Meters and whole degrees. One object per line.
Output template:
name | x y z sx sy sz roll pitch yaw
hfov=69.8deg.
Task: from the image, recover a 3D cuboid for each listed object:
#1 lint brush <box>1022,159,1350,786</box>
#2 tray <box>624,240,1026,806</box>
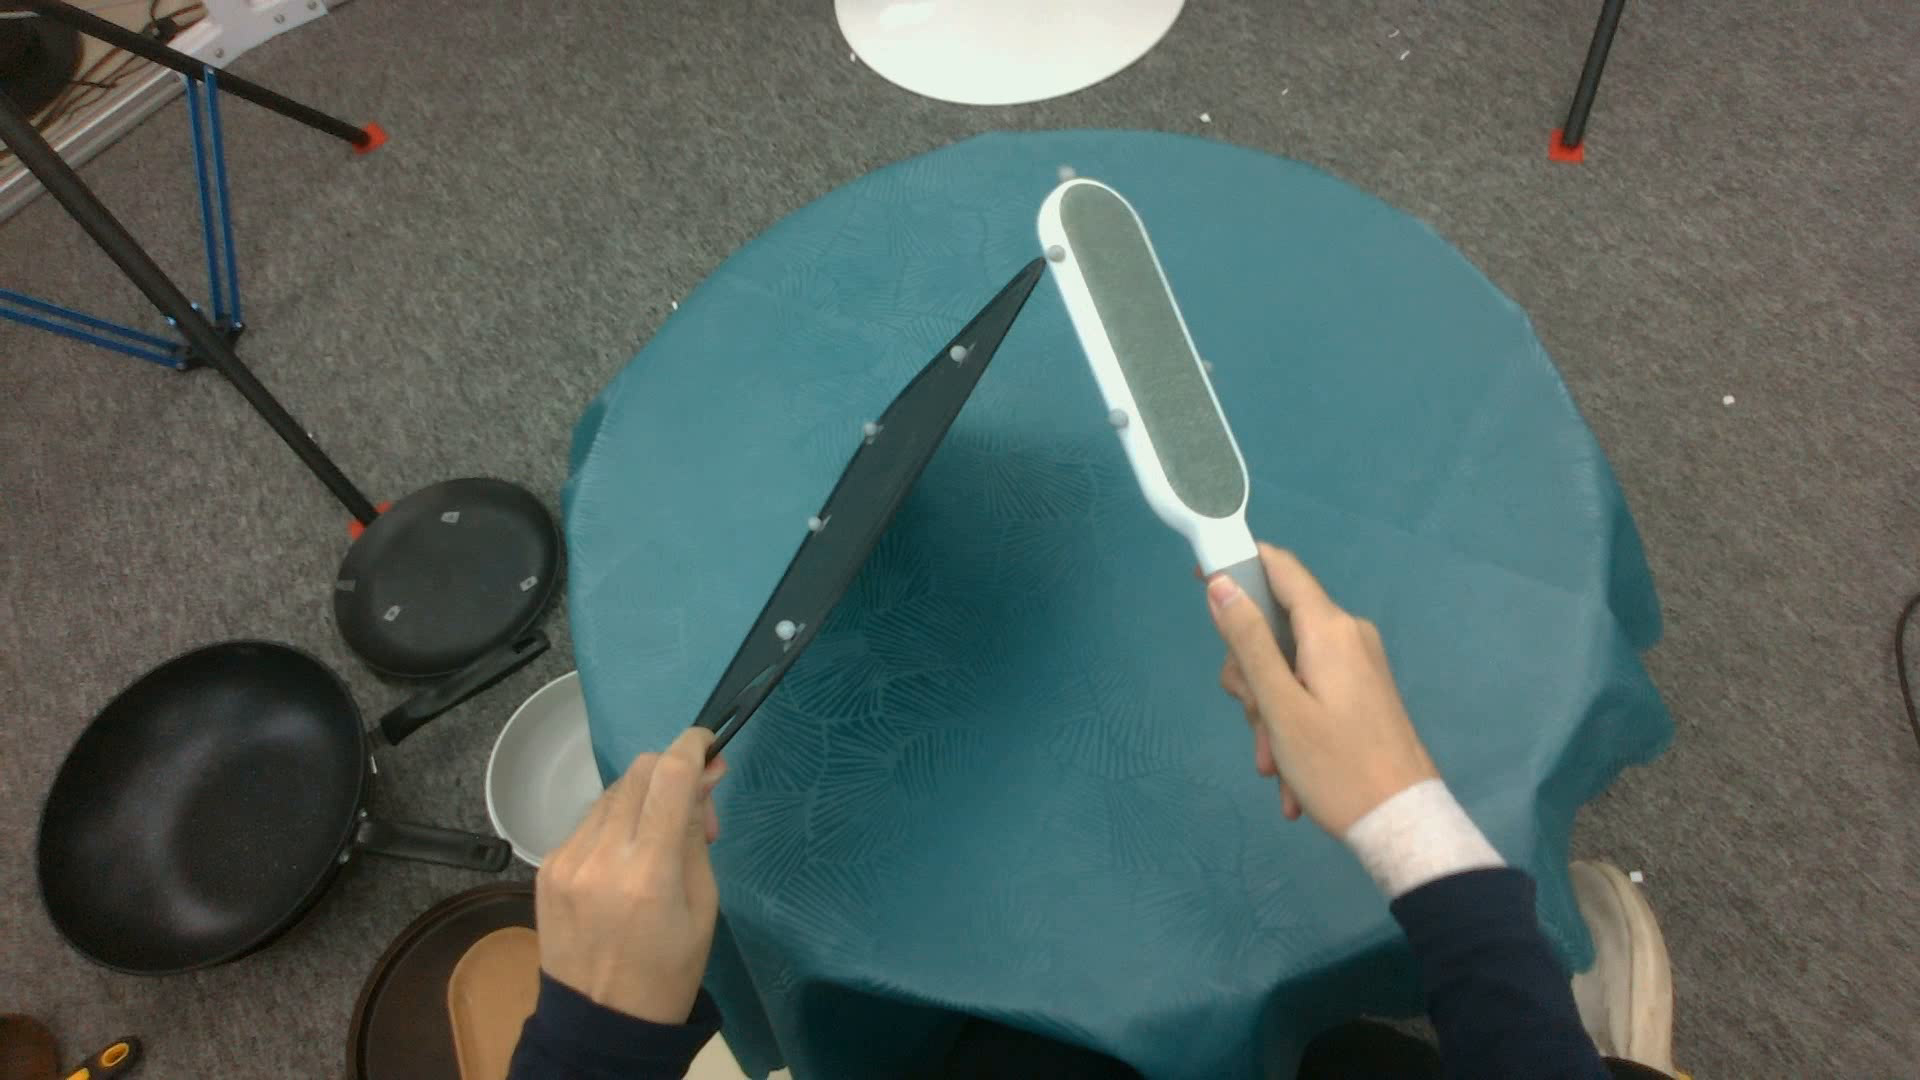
lint brush | 0.100 -0.036 0.616 0.060 0.021 0.309 -13 76 -43
tray | -0.067 -0.011 0.675 0.010 0.210 0.327 37 52 -11
